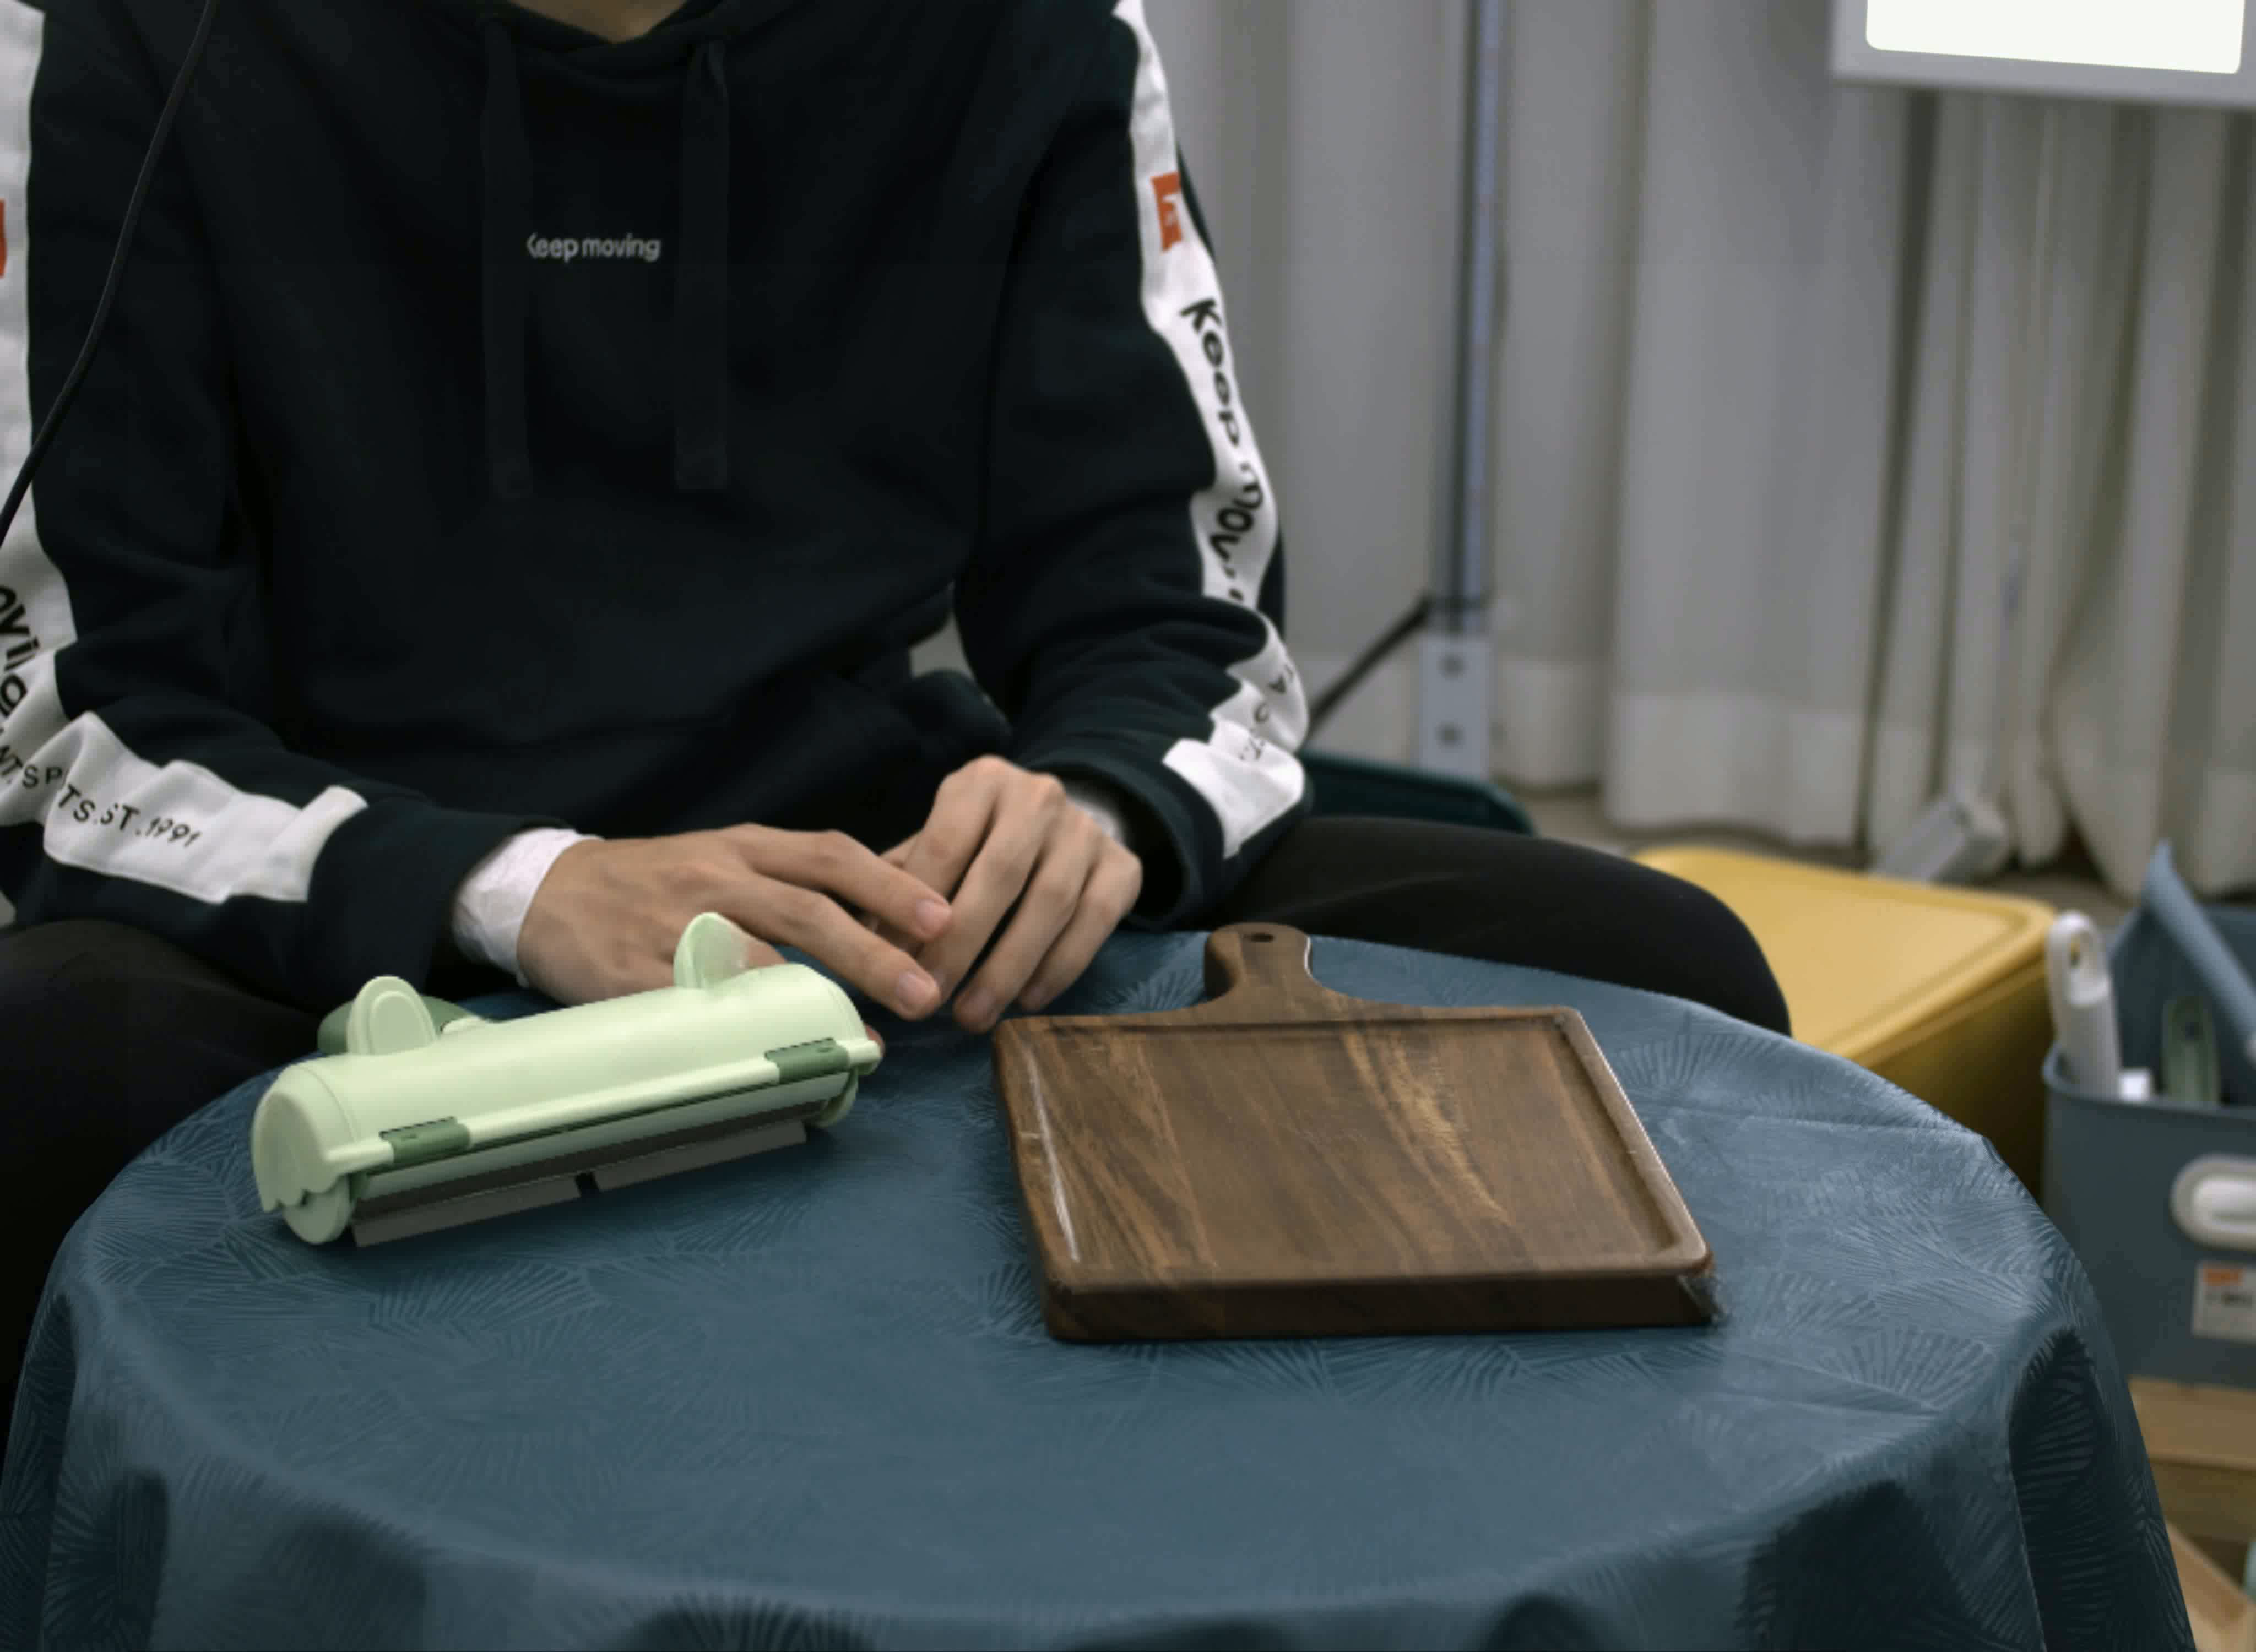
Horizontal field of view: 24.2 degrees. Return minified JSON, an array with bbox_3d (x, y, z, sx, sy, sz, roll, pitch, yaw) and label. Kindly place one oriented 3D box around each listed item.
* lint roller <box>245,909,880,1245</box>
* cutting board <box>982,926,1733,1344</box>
[{"bbox_3d":[-0.205,0.062,1.652,0.199,0.083,0.181,-11,24,-35],"label":"lint roller"},{"bbox_3d":[0.058,0.090,1.663,0.201,0.023,0.349,-1,15,-6],"label":"cutting board"}]
